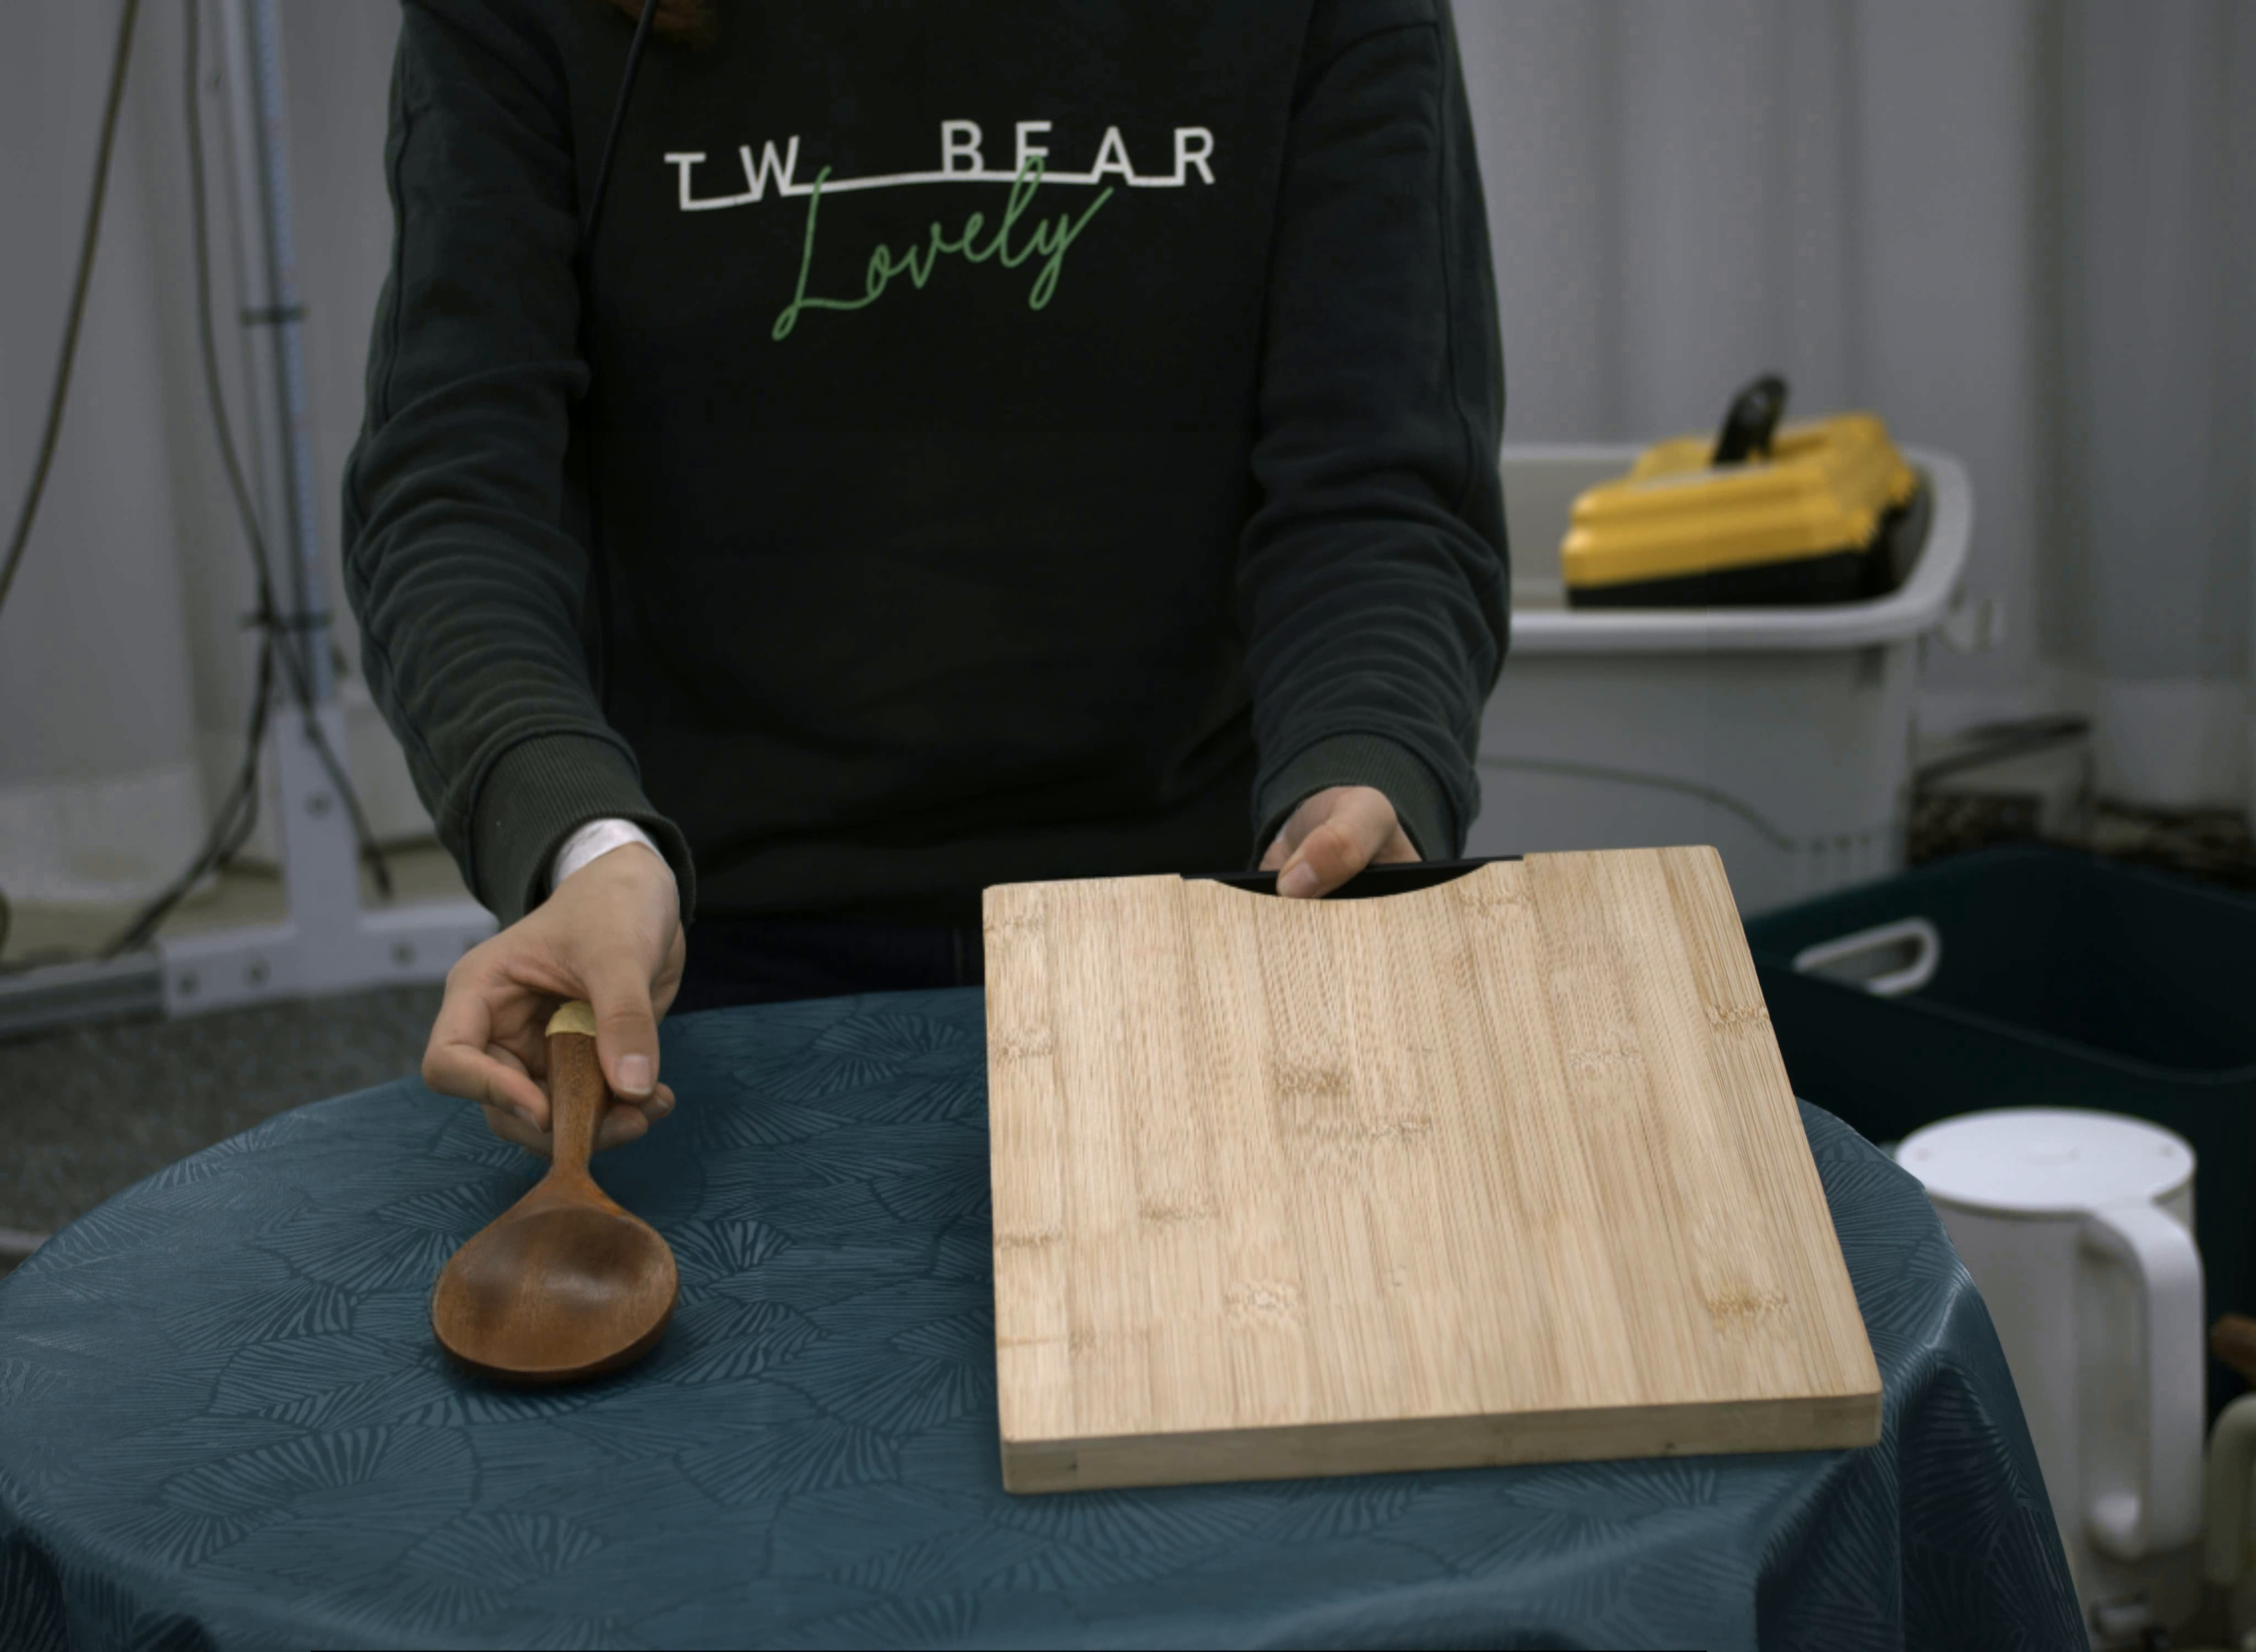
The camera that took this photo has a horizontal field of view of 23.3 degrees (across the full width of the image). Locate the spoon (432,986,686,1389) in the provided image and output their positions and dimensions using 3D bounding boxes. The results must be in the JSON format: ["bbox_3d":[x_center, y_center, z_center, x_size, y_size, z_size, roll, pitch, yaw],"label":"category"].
[{"bbox_3d":[-0.168,0.109,1.657,0.075,0.017,0.218,-6,29,1],"label":"spoon"}]

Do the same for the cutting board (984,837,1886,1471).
[{"bbox_3d":[0.079,0.092,1.631,0.250,0.023,0.352,-3,25,-2],"label":"cutting board"}]
